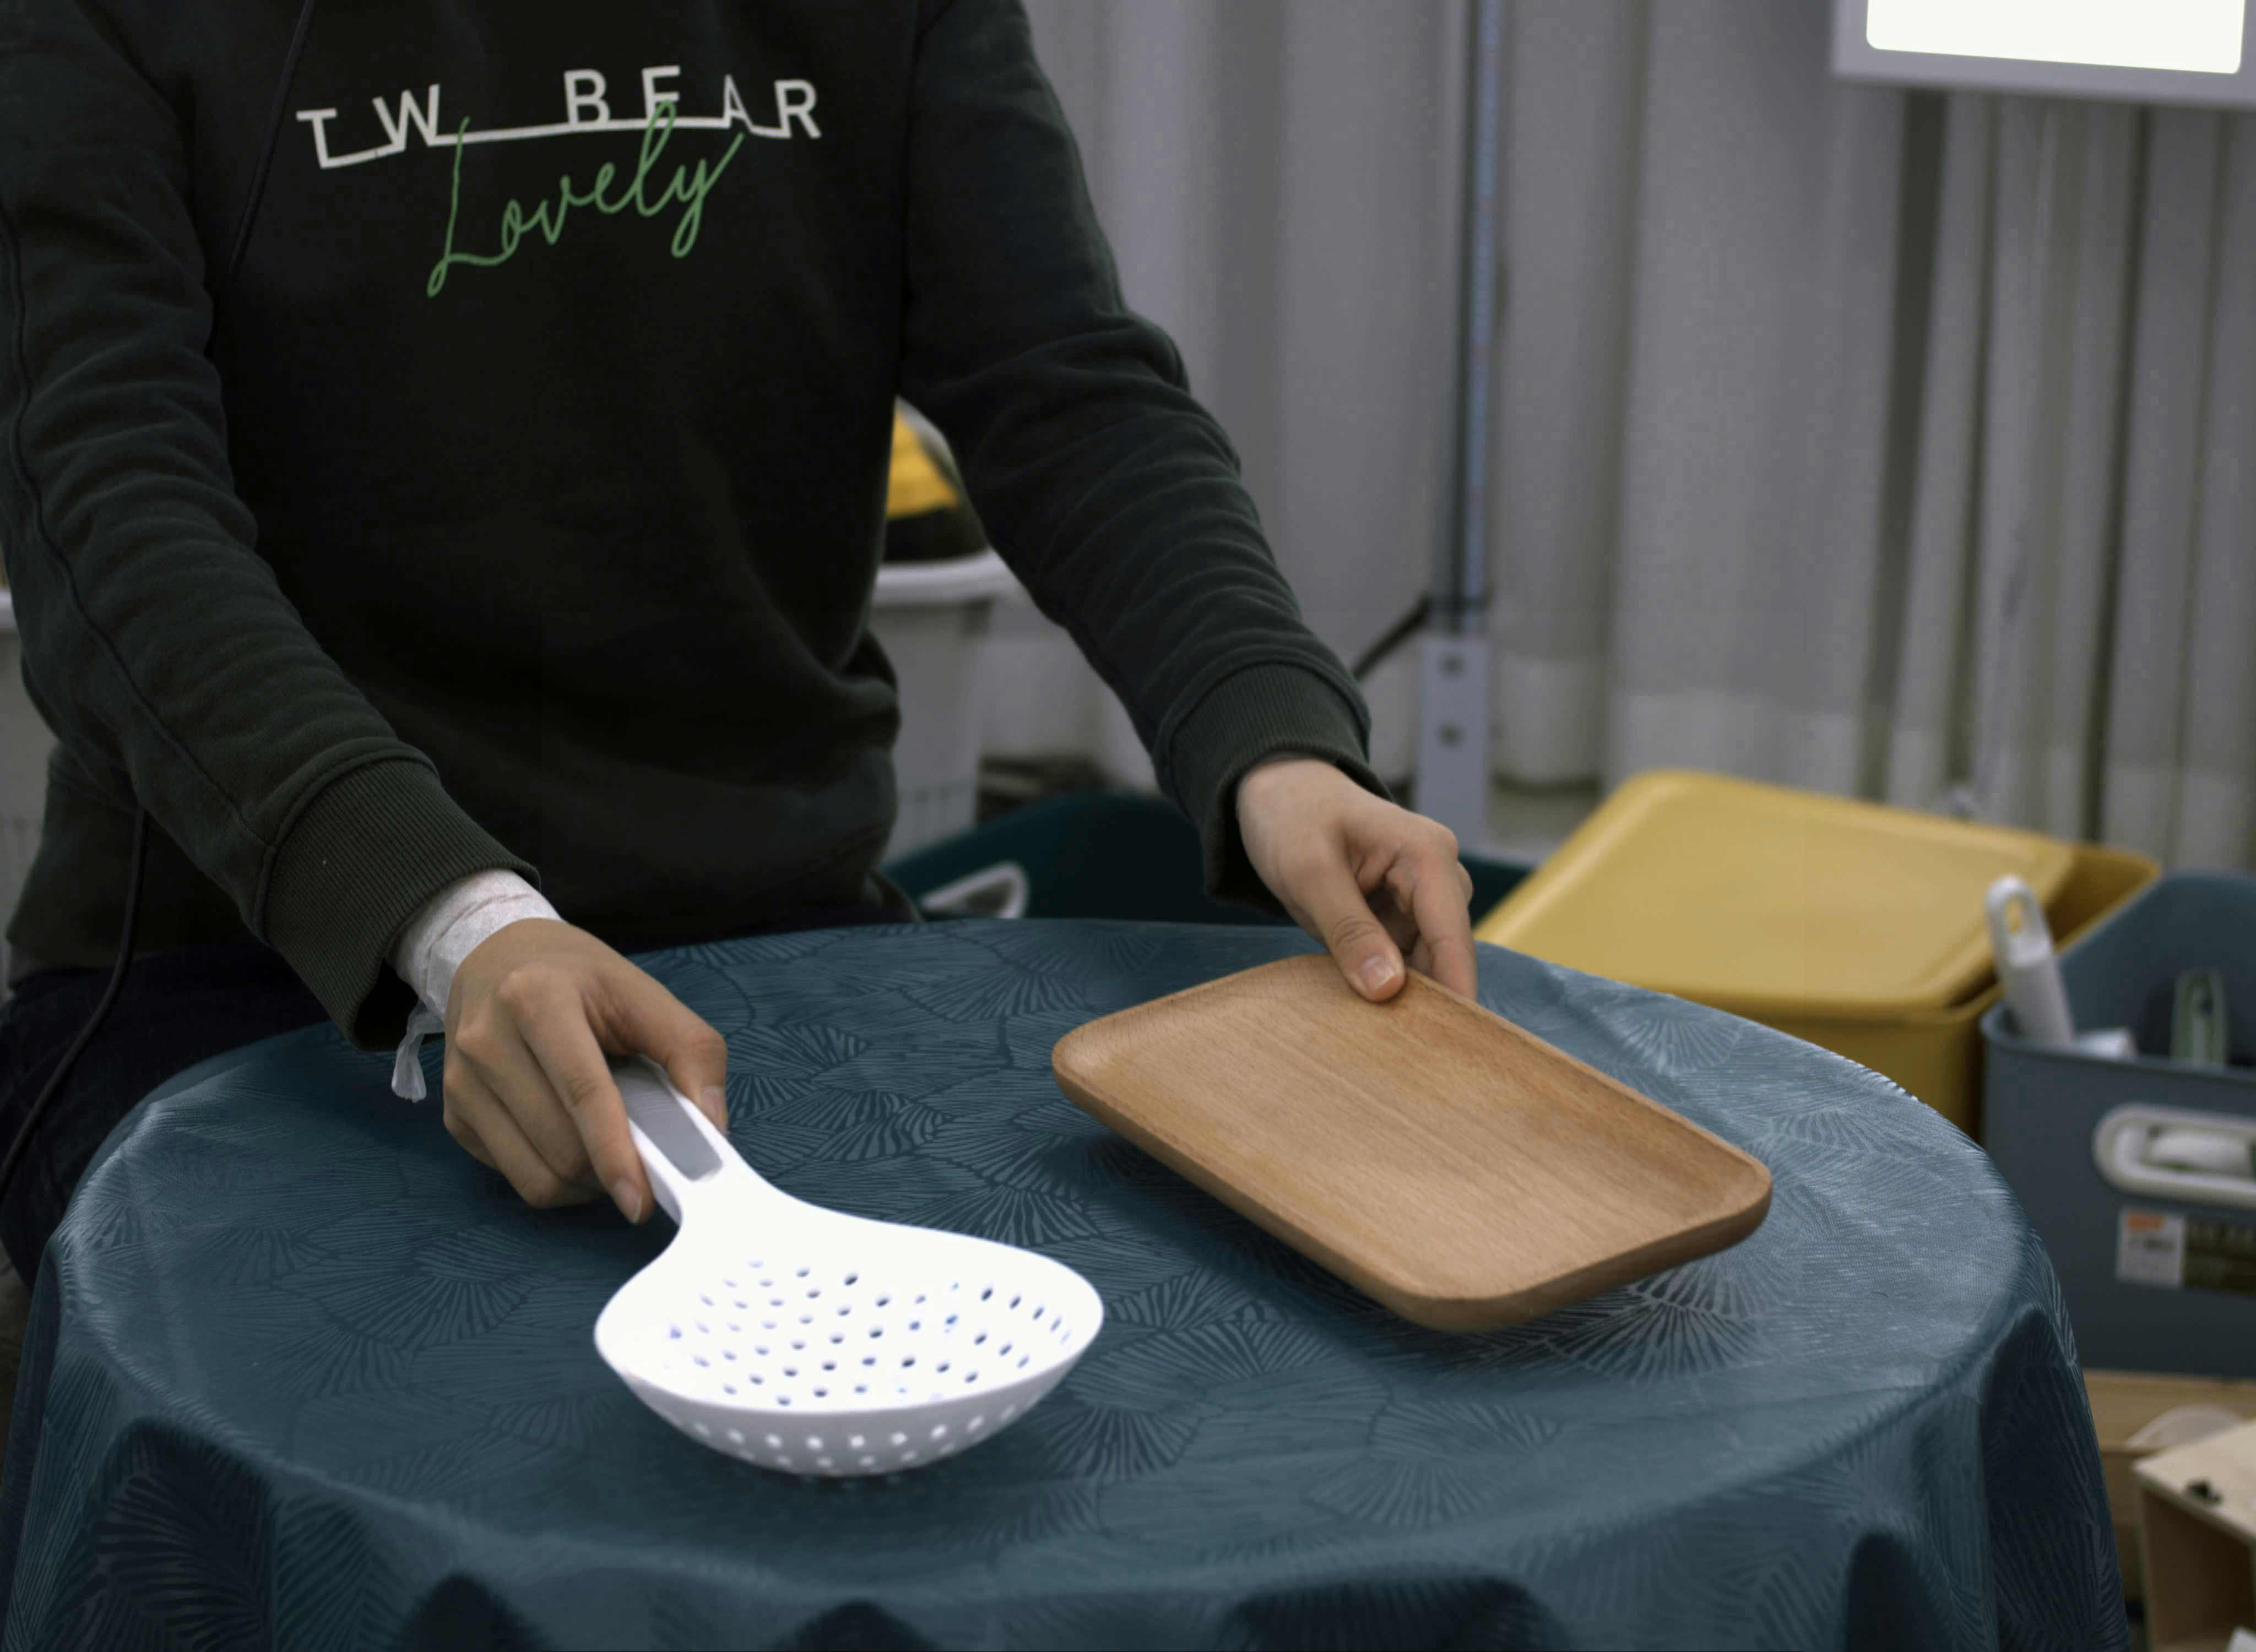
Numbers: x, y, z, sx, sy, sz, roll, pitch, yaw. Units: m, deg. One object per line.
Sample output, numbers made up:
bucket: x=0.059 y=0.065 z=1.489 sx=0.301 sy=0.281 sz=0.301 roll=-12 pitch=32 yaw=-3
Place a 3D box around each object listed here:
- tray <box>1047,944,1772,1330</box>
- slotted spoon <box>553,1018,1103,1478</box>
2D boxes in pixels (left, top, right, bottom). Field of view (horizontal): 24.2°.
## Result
tray: x=0.081 y=0.091 z=1.594 sx=0.131 sy=0.023 sz=0.247 roll=-15 pitch=22 yaw=-26
slotted spoon: x=-0.112 y=0.112 z=1.505 sx=0.136 sy=0.046 sz=0.345 roll=-6 pitch=21 yaw=-20
